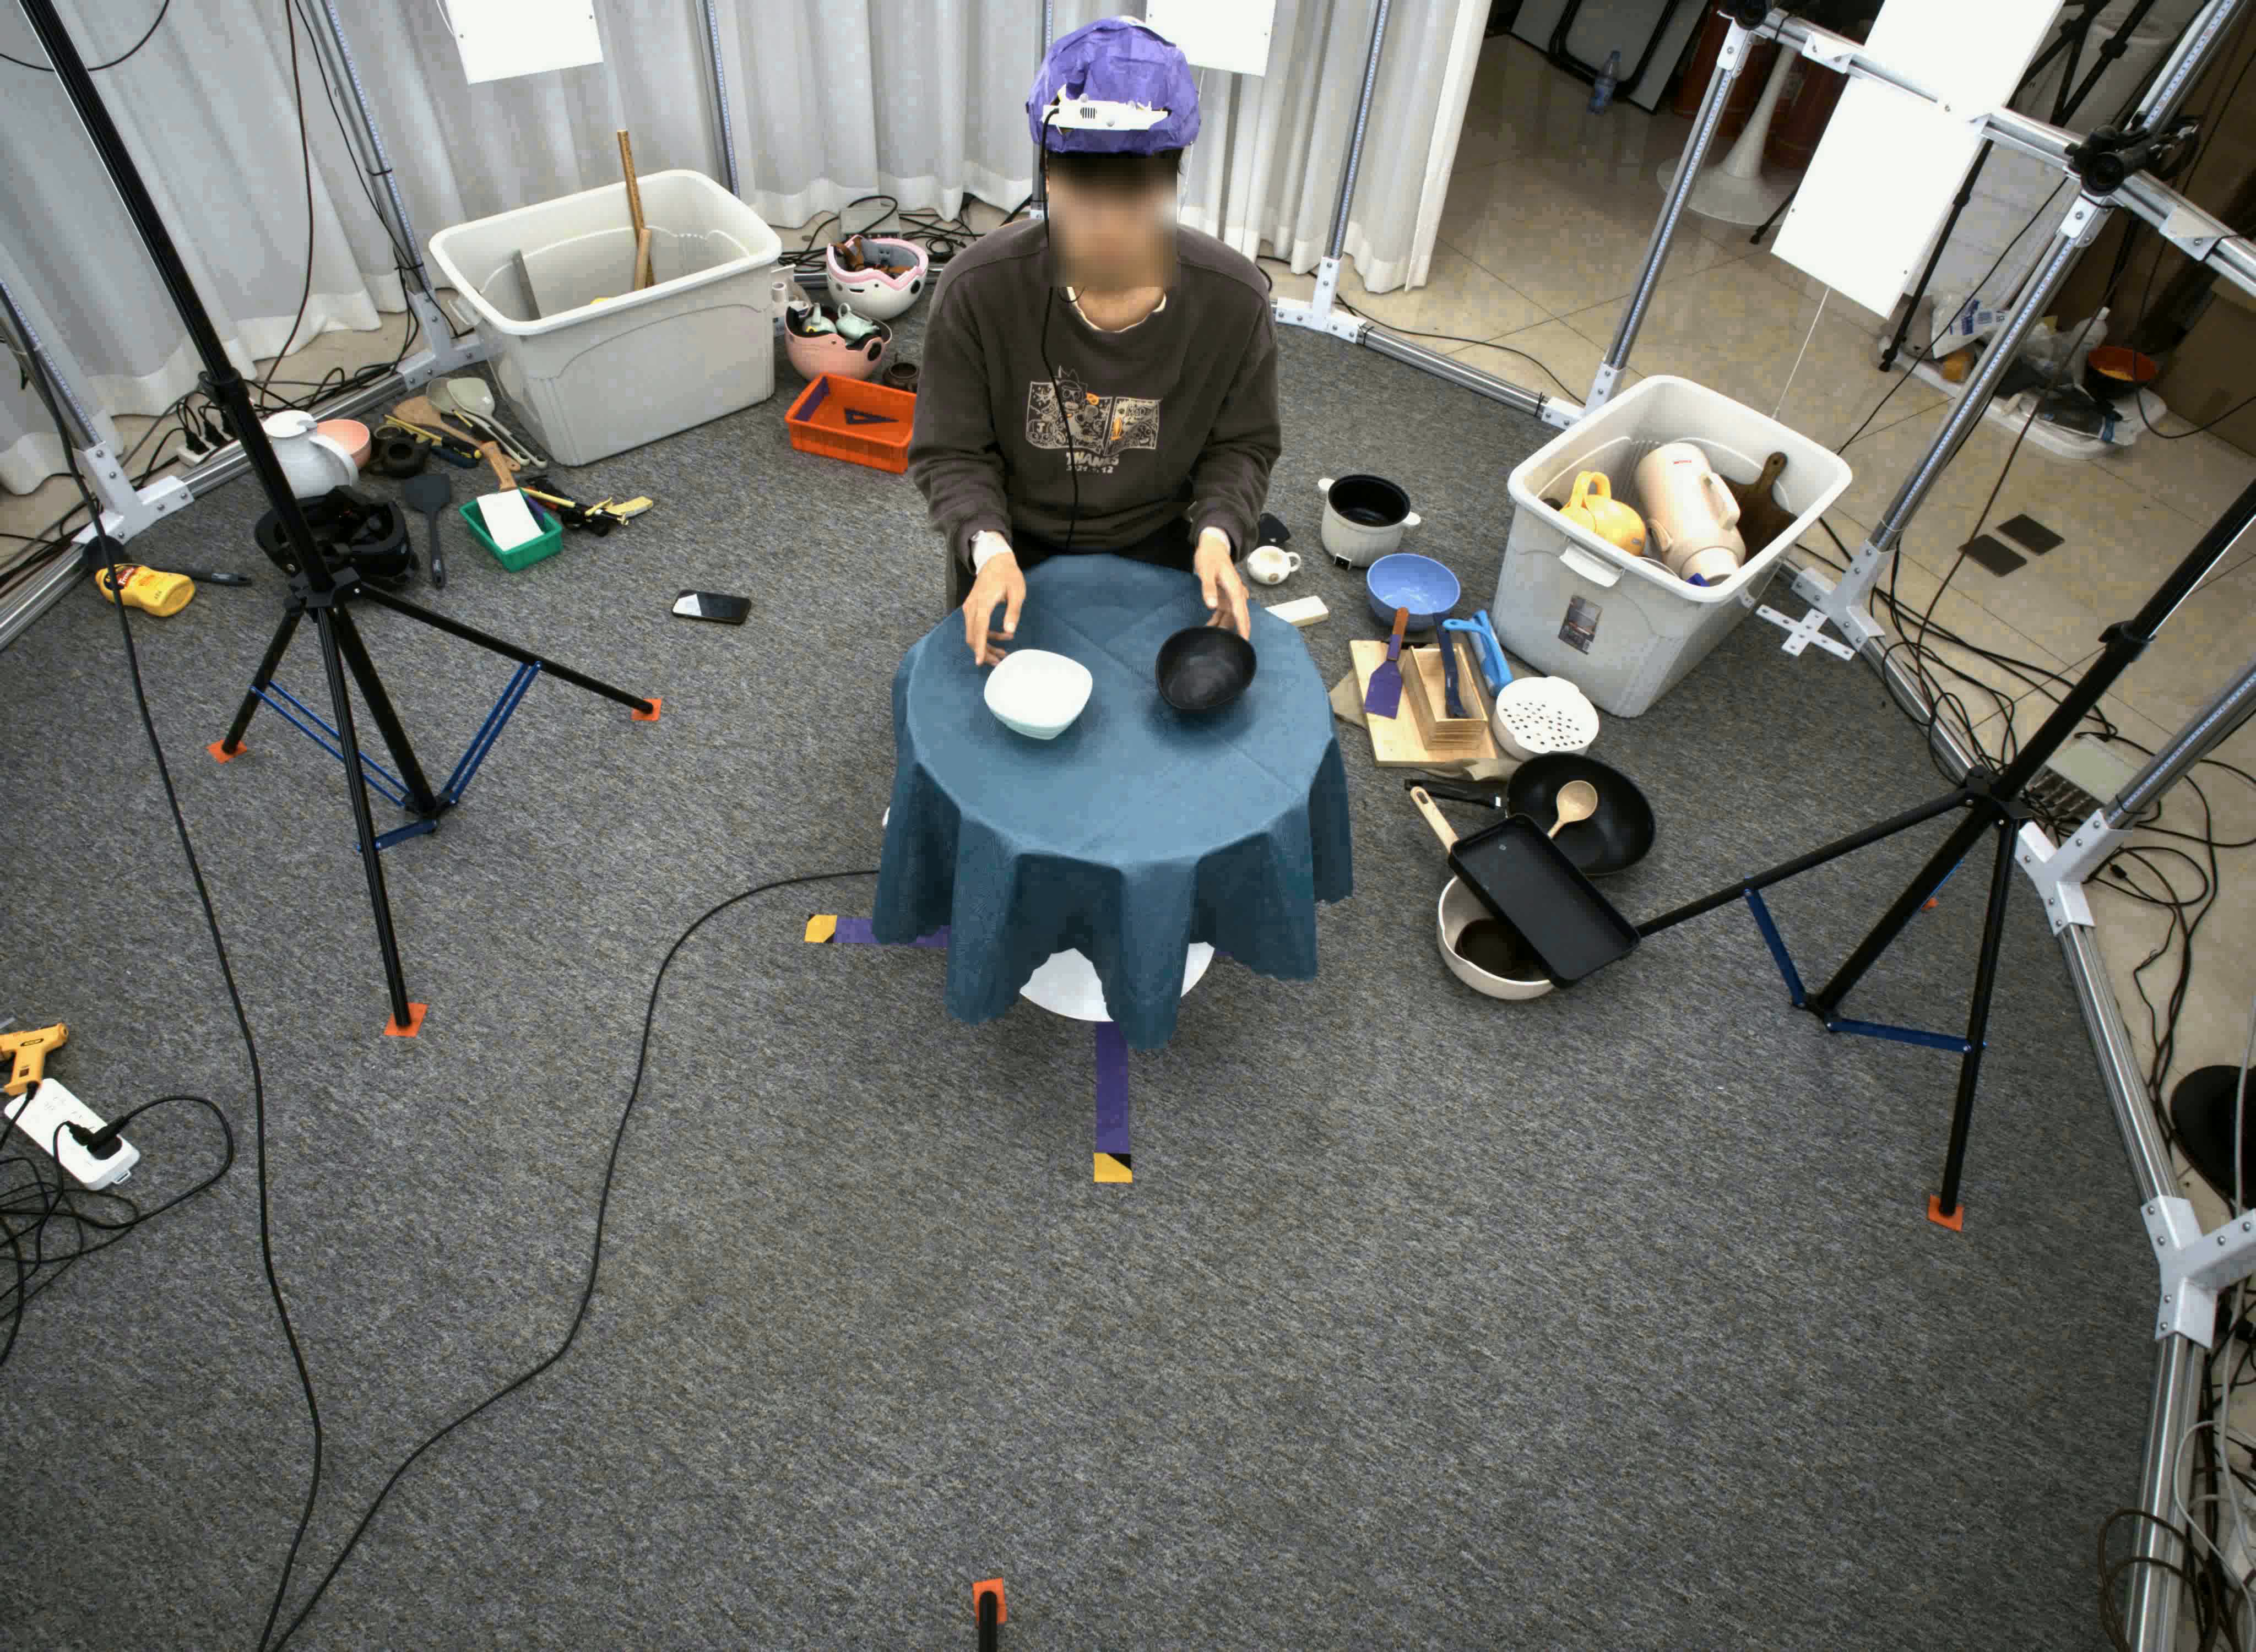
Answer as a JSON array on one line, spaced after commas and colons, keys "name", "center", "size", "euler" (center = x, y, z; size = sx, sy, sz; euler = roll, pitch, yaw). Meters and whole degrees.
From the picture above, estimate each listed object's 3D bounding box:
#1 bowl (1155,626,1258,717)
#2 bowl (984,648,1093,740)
[{"name": "bowl", "center": [0.108, -0.207, 1.812], "size": [0.138, 0.065, 0.173], "euler": [23, 53, 16]}, {"name": "bowl", "center": [-0.124, -0.173, 1.772], "size": [0.151, 0.057, 0.155], "euler": [3, 50, -4]}]
